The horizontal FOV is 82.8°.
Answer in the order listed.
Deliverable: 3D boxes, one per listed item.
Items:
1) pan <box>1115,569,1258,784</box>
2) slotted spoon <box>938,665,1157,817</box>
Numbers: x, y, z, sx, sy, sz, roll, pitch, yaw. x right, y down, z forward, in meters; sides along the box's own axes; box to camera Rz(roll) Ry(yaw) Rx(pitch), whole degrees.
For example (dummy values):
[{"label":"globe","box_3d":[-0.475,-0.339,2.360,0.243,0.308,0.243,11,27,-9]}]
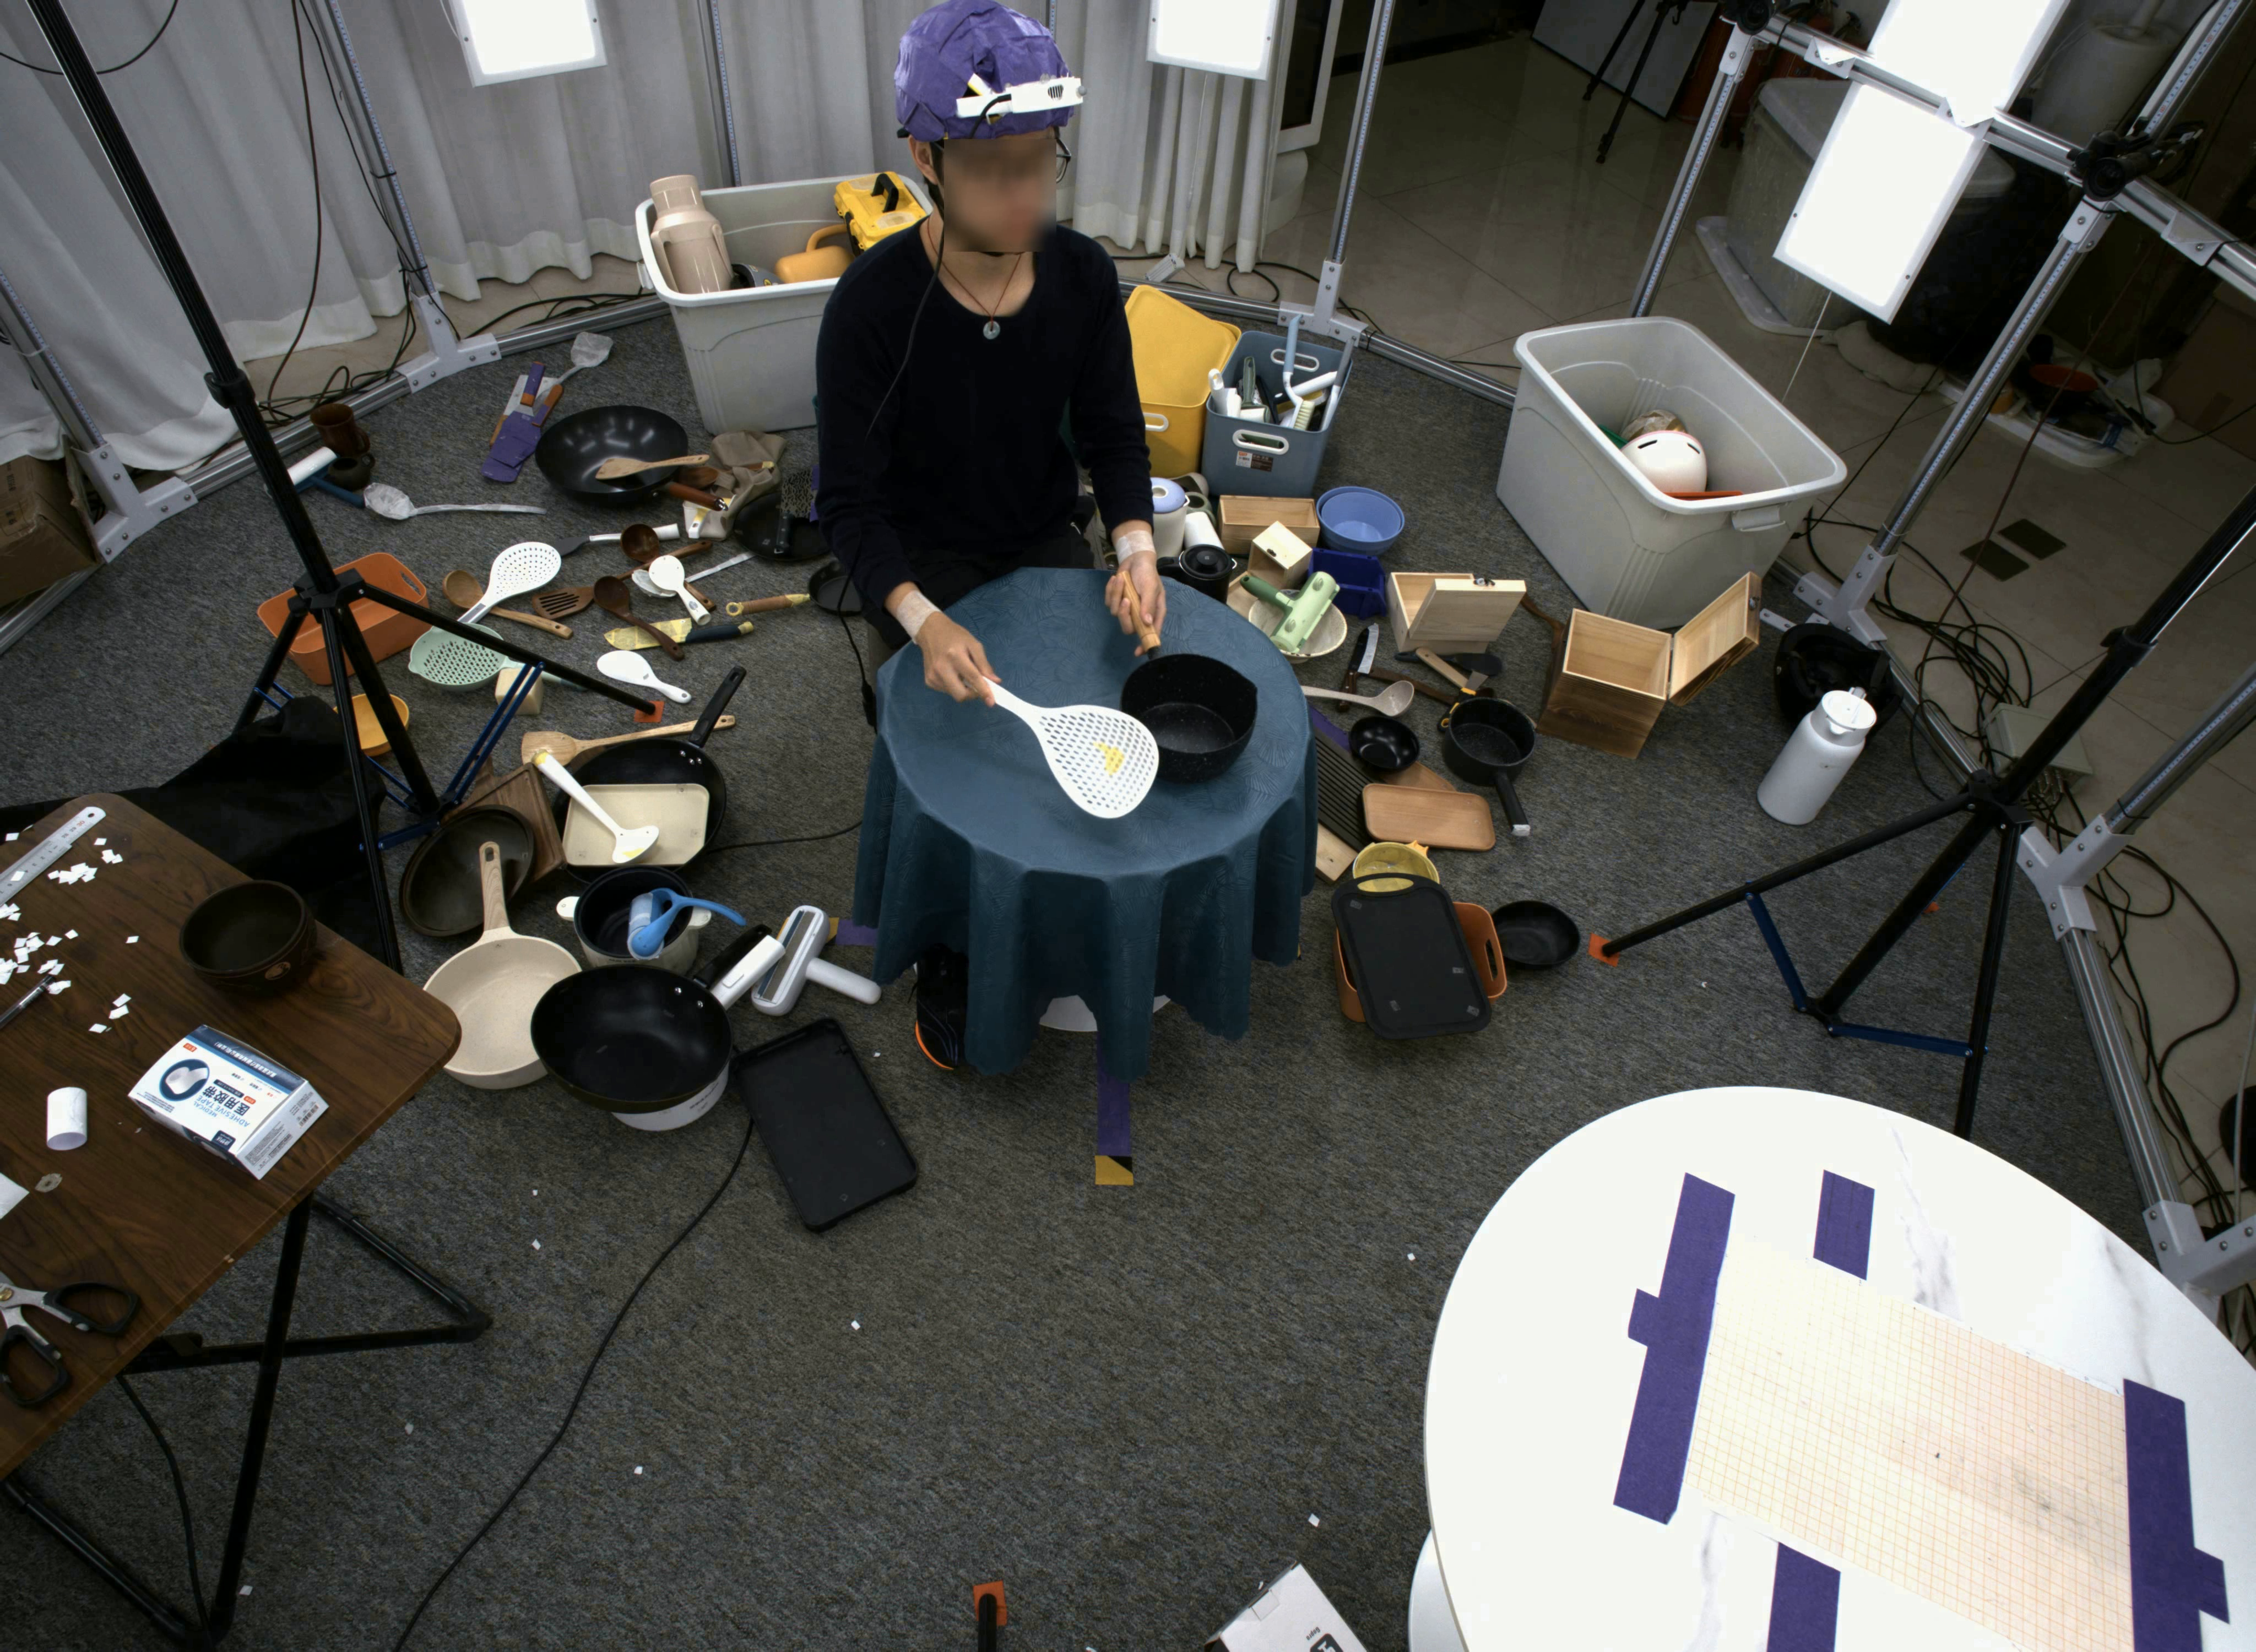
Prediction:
[{"label":"pan","box_3d":[0.048,-0.207,1.778,0.207,0.105,0.350,-16,55,-16]},{"label":"slotted spoon","box_3d":[-0.112,-0.136,1.661,0.351,0.135,0.050,28,17,17]}]
